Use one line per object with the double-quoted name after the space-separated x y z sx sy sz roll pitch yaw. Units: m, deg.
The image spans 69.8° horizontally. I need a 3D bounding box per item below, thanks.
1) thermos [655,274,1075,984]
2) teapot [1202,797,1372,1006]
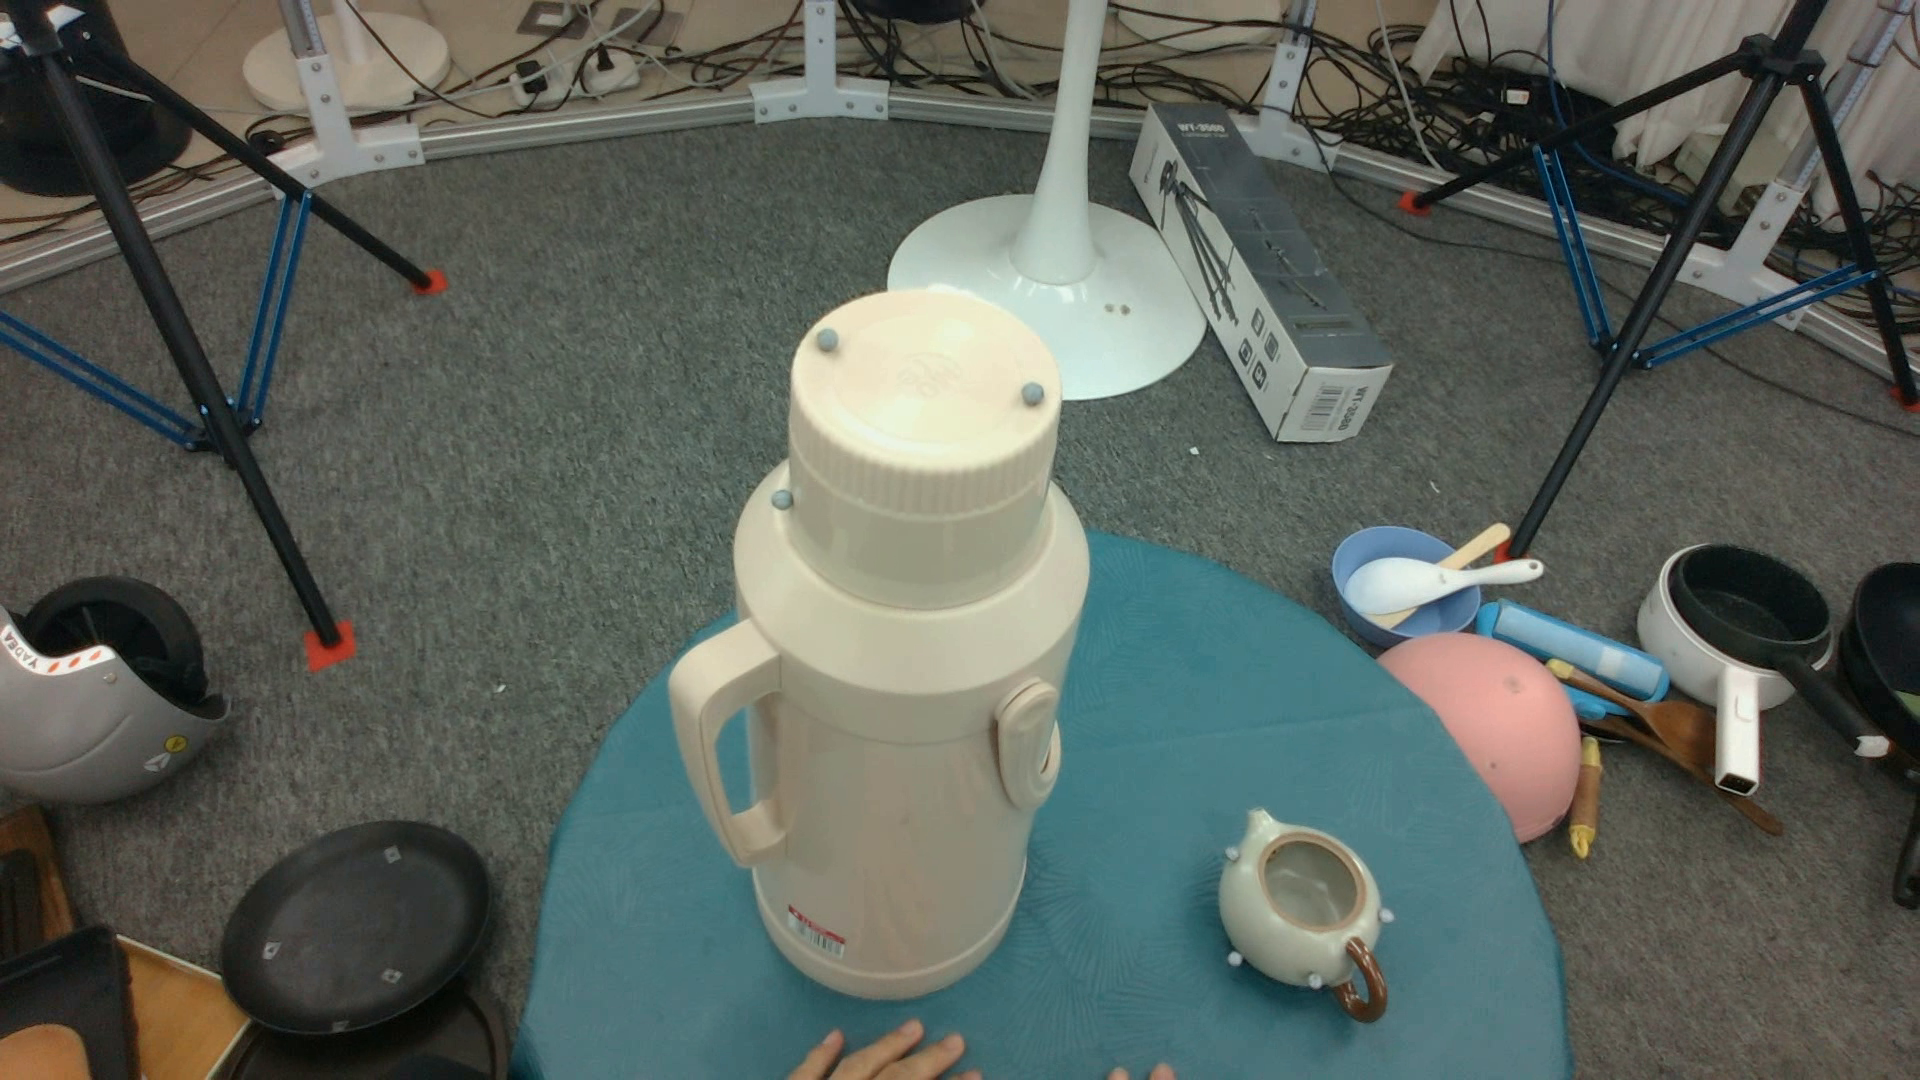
-0.048 0.066 0.668 0.208 0.404 0.175 -29 59 -29 "thermos"
0.192 0.210 0.794 0.092 0.059 0.128 -19 52 -25 "teapot"
